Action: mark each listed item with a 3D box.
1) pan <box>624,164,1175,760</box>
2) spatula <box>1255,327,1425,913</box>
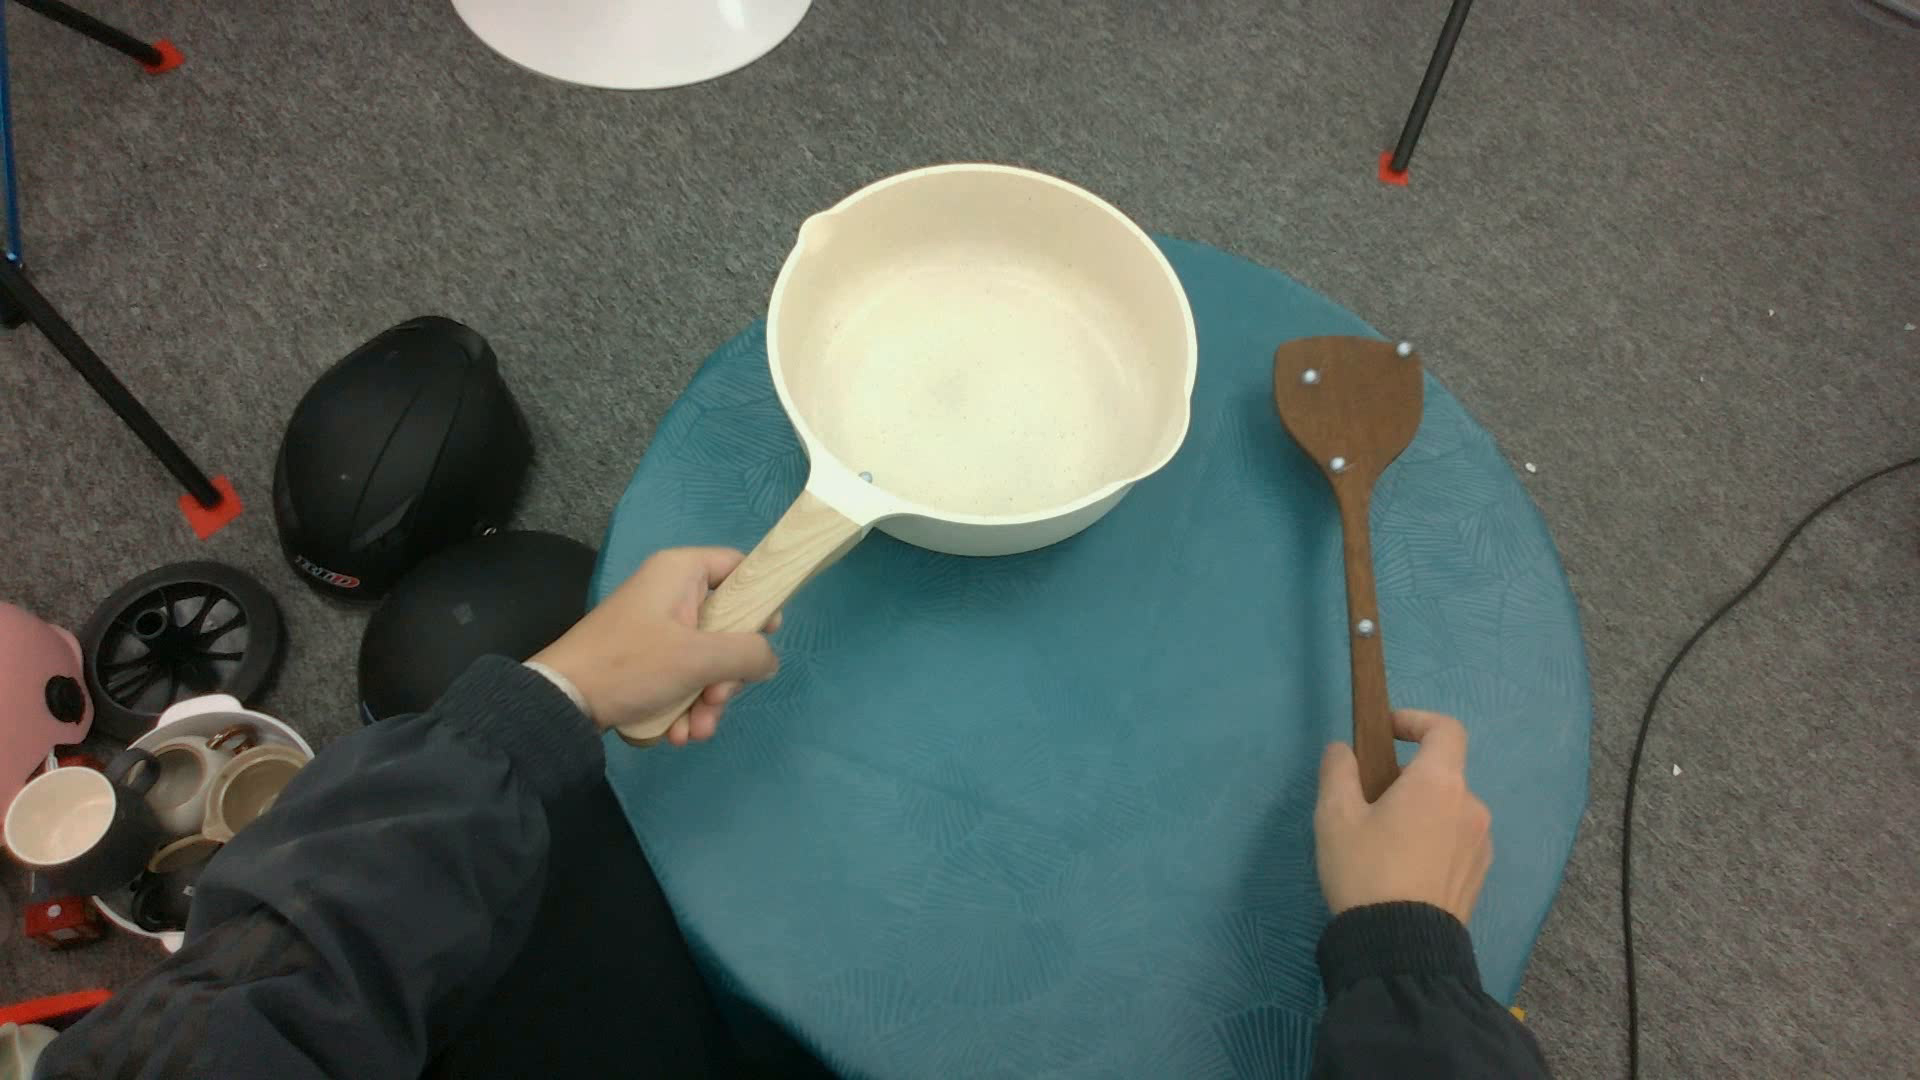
[{"bbox_3d":[-0.048,-0.041,0.804,0.263,0.101,0.436,31,65,11],"label":"pan"},{"bbox_3d":[0.234,0.026,0.811,0.096,0.016,0.387,1,59,3],"label":"spatula"}]
